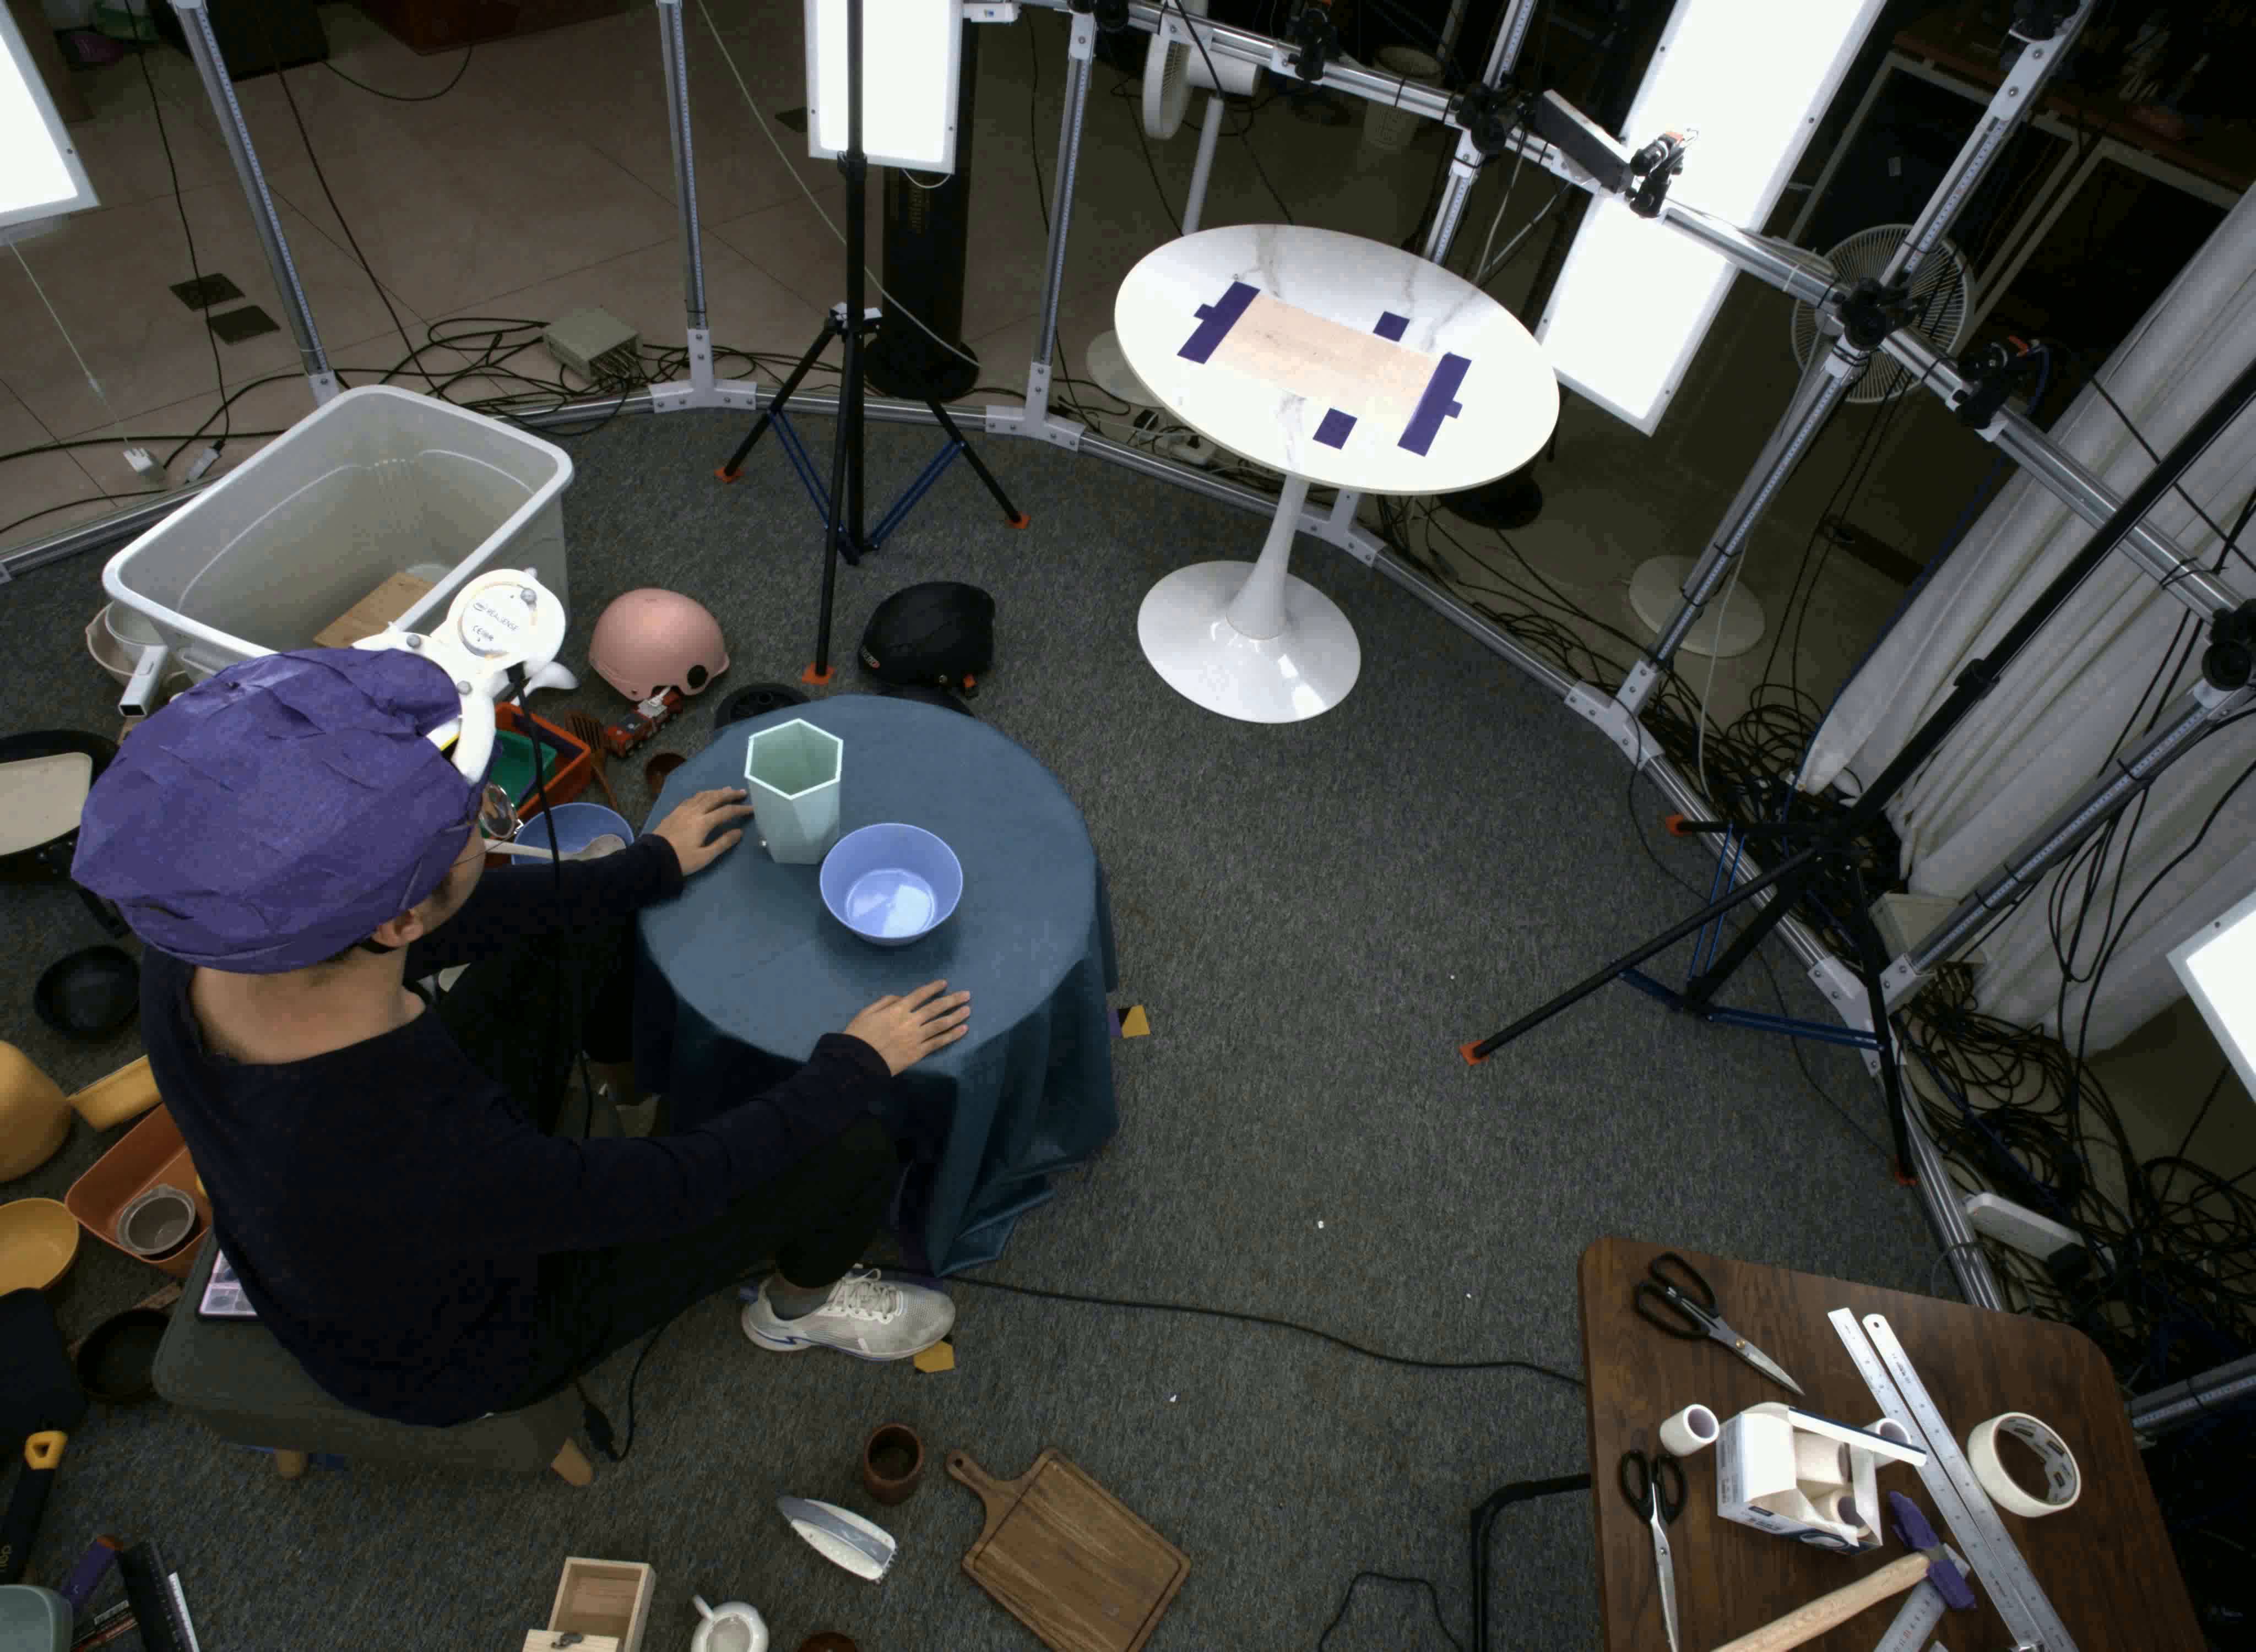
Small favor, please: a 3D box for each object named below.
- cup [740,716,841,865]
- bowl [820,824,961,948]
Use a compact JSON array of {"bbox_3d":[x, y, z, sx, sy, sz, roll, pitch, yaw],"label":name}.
[{"bbox_3d":[-0.423,-0.038,1.649,0.129,0.166,0.114,23,53,8],"label":"cup"},{"bbox_3d":[-0.300,0.086,1.647,0.175,0.072,0.173,7,53,-8],"label":"bowl"}]
